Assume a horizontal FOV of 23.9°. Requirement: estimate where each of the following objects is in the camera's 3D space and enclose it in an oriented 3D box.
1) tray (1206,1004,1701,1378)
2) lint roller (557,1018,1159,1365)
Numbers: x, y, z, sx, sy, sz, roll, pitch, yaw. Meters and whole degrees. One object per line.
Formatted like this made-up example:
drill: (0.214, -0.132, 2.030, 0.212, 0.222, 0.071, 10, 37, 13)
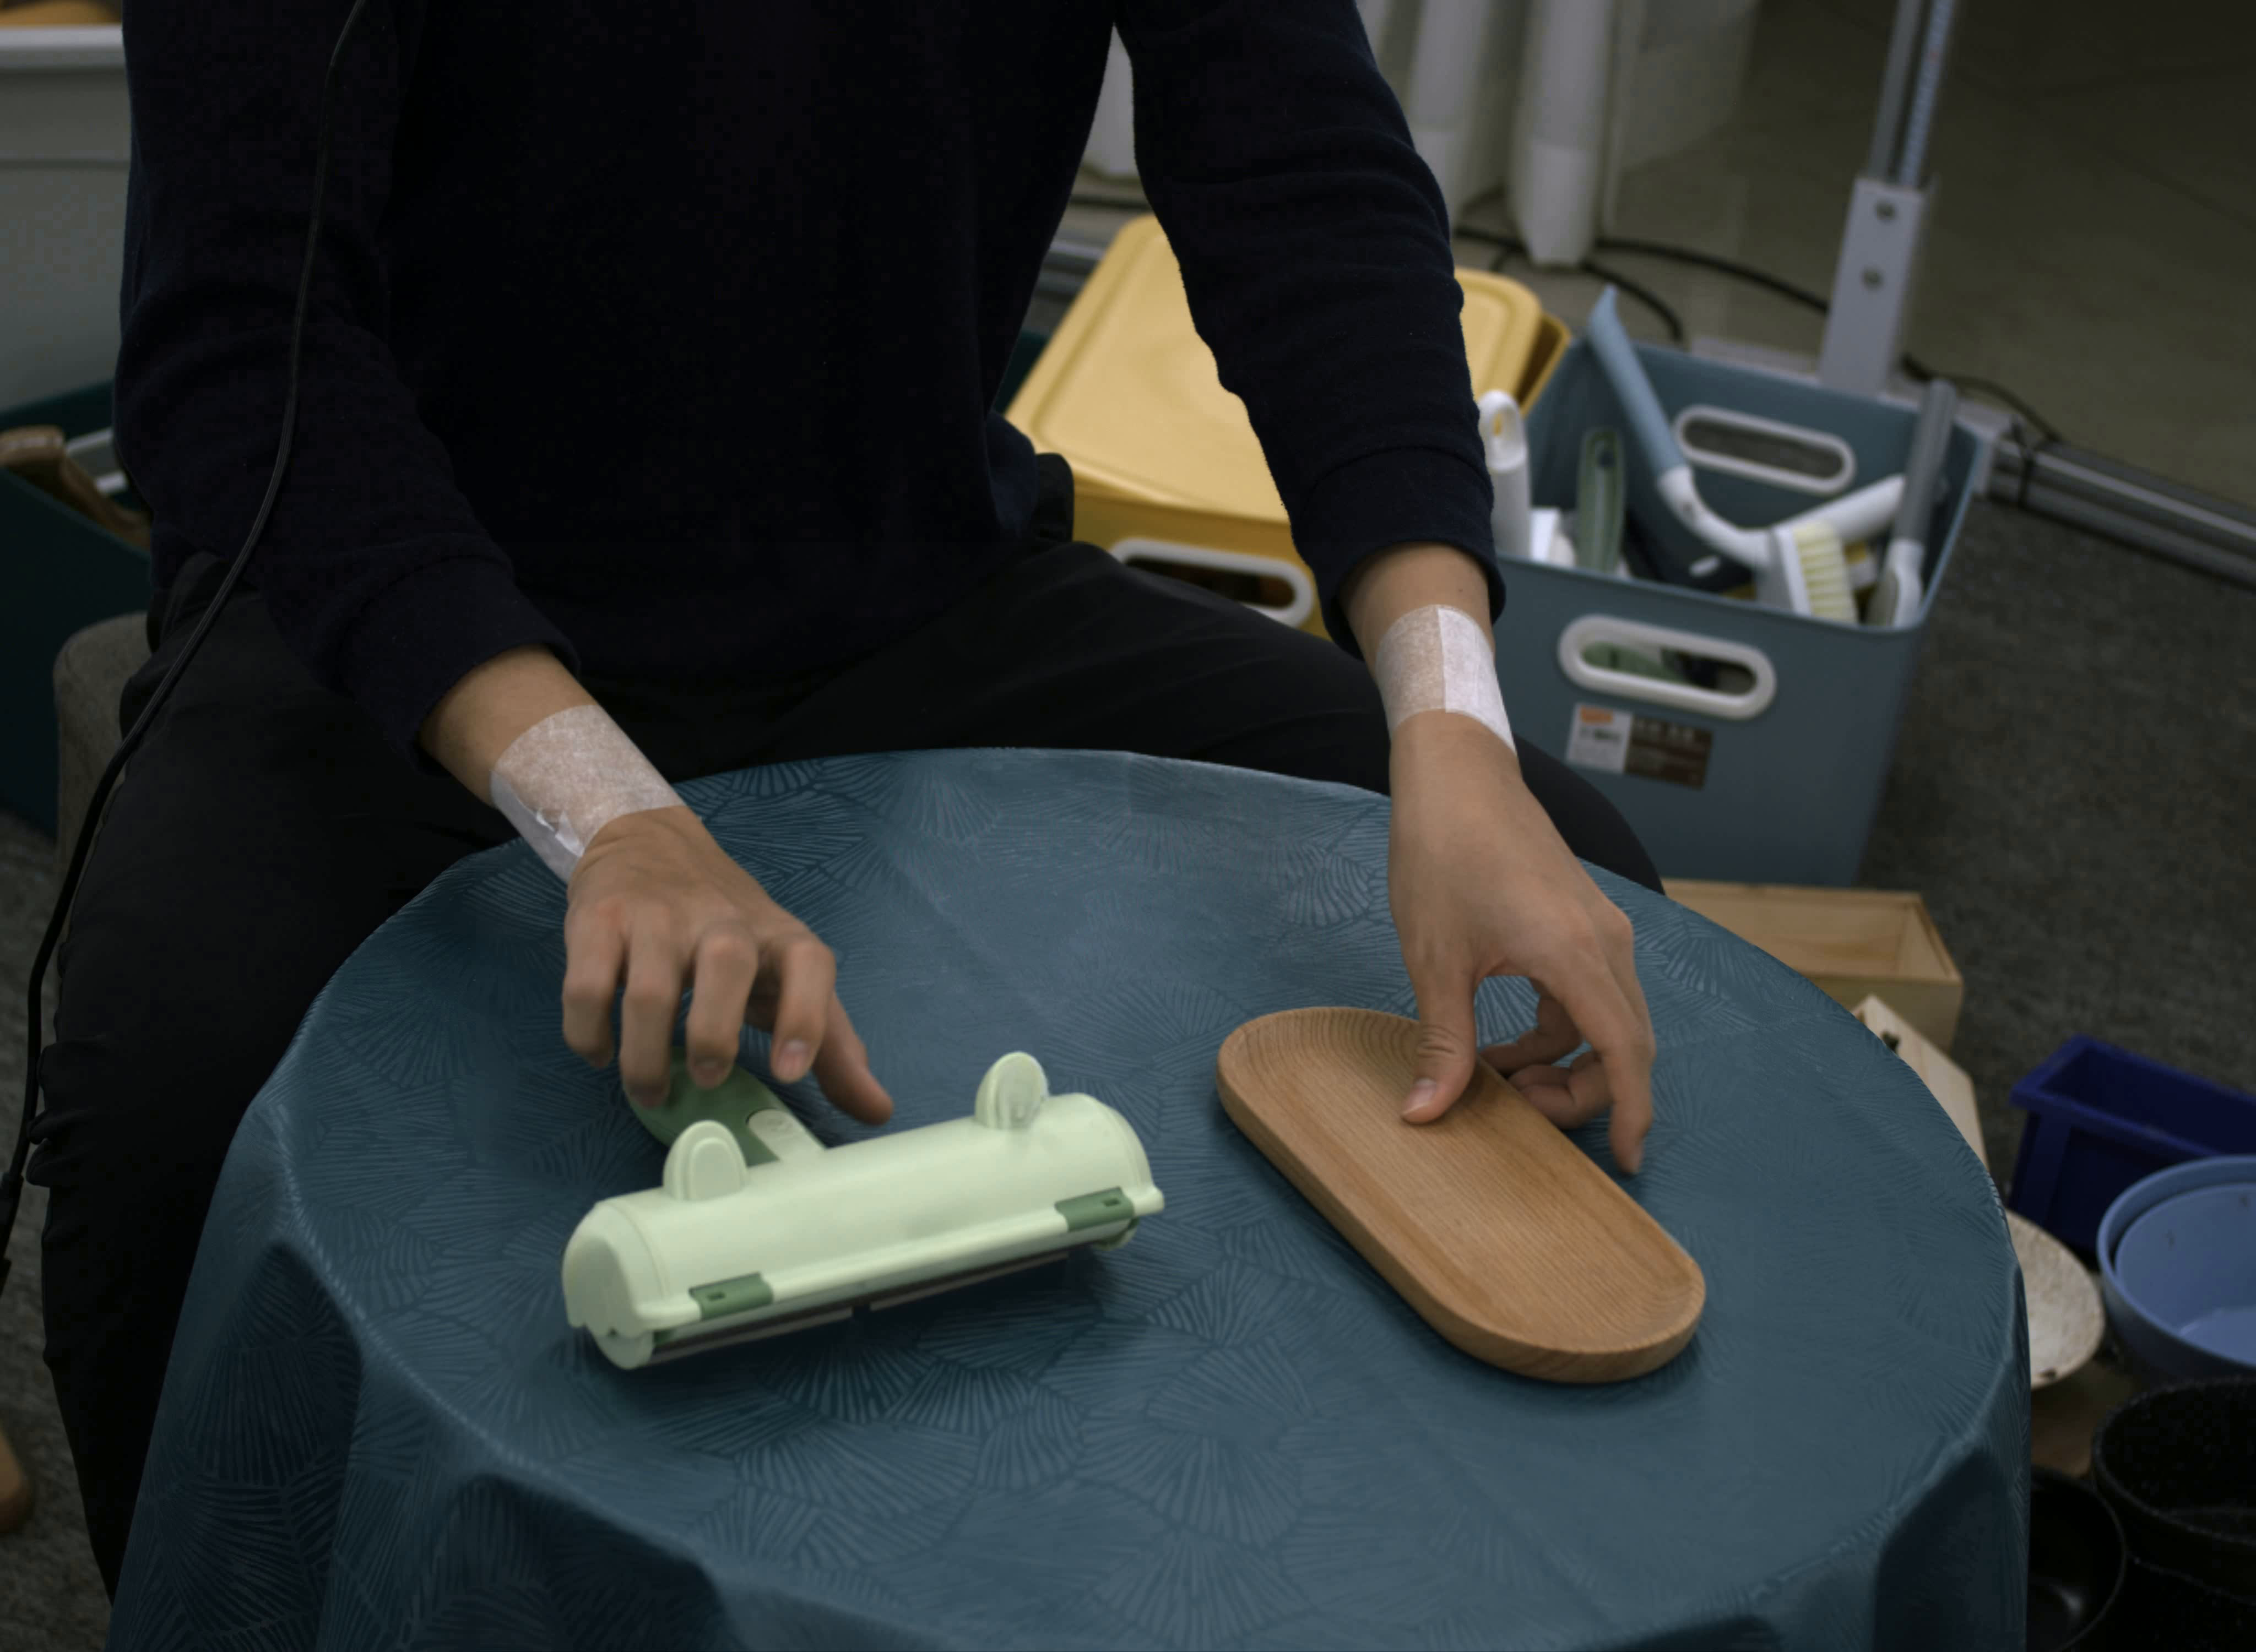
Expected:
tray: (0.108, 0.122, 1.812, 0.101, 0.020, 0.233, -7, 29, -28)
lint roller: (-0.115, 0.093, 1.741, 0.197, 0.082, 0.185, -11, 38, -32)
